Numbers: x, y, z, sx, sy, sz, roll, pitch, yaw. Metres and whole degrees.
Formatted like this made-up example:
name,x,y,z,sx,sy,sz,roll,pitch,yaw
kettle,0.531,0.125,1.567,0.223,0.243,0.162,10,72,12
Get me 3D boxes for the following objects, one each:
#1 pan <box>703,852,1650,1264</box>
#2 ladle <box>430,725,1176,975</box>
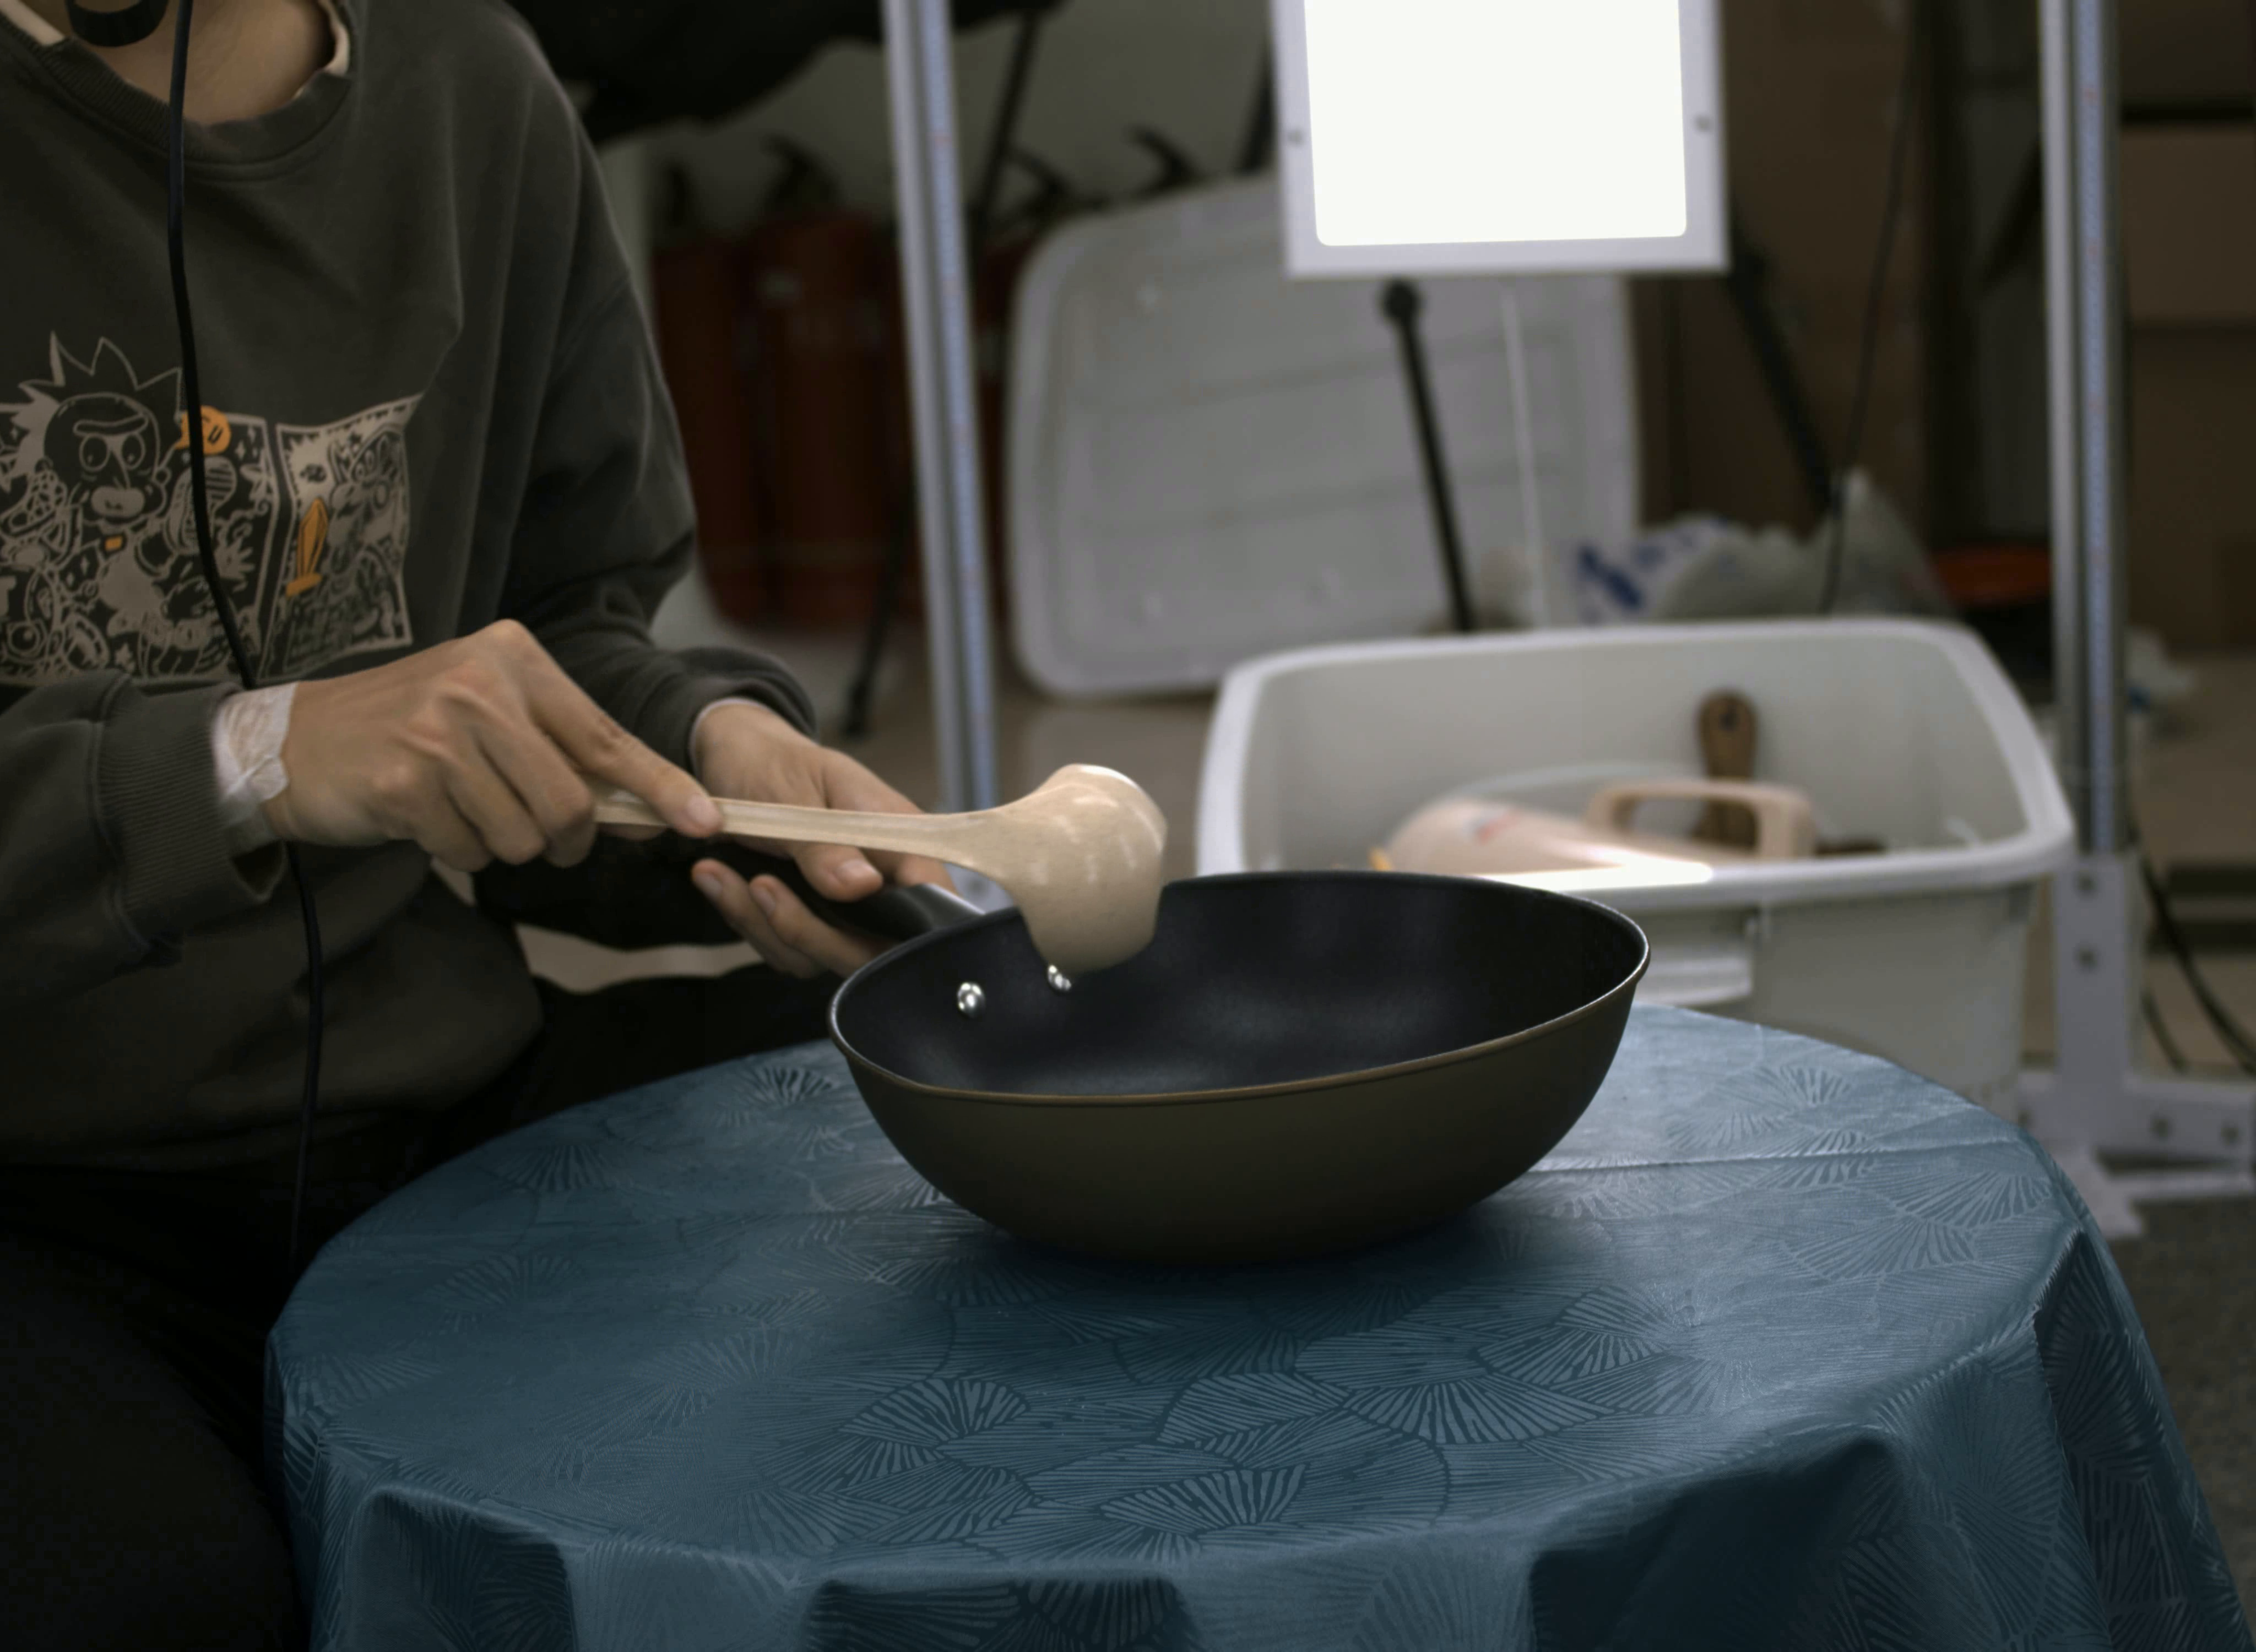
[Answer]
name,x,y,z,sx,sy,sz,roll,pitch,yaw
pan,-0.017,0.076,1.938,0.281,0.087,0.473,-15,15,-35
ladle,-0.110,-0.001,1.890,0.255,0.072,0.072,9,-9,9
